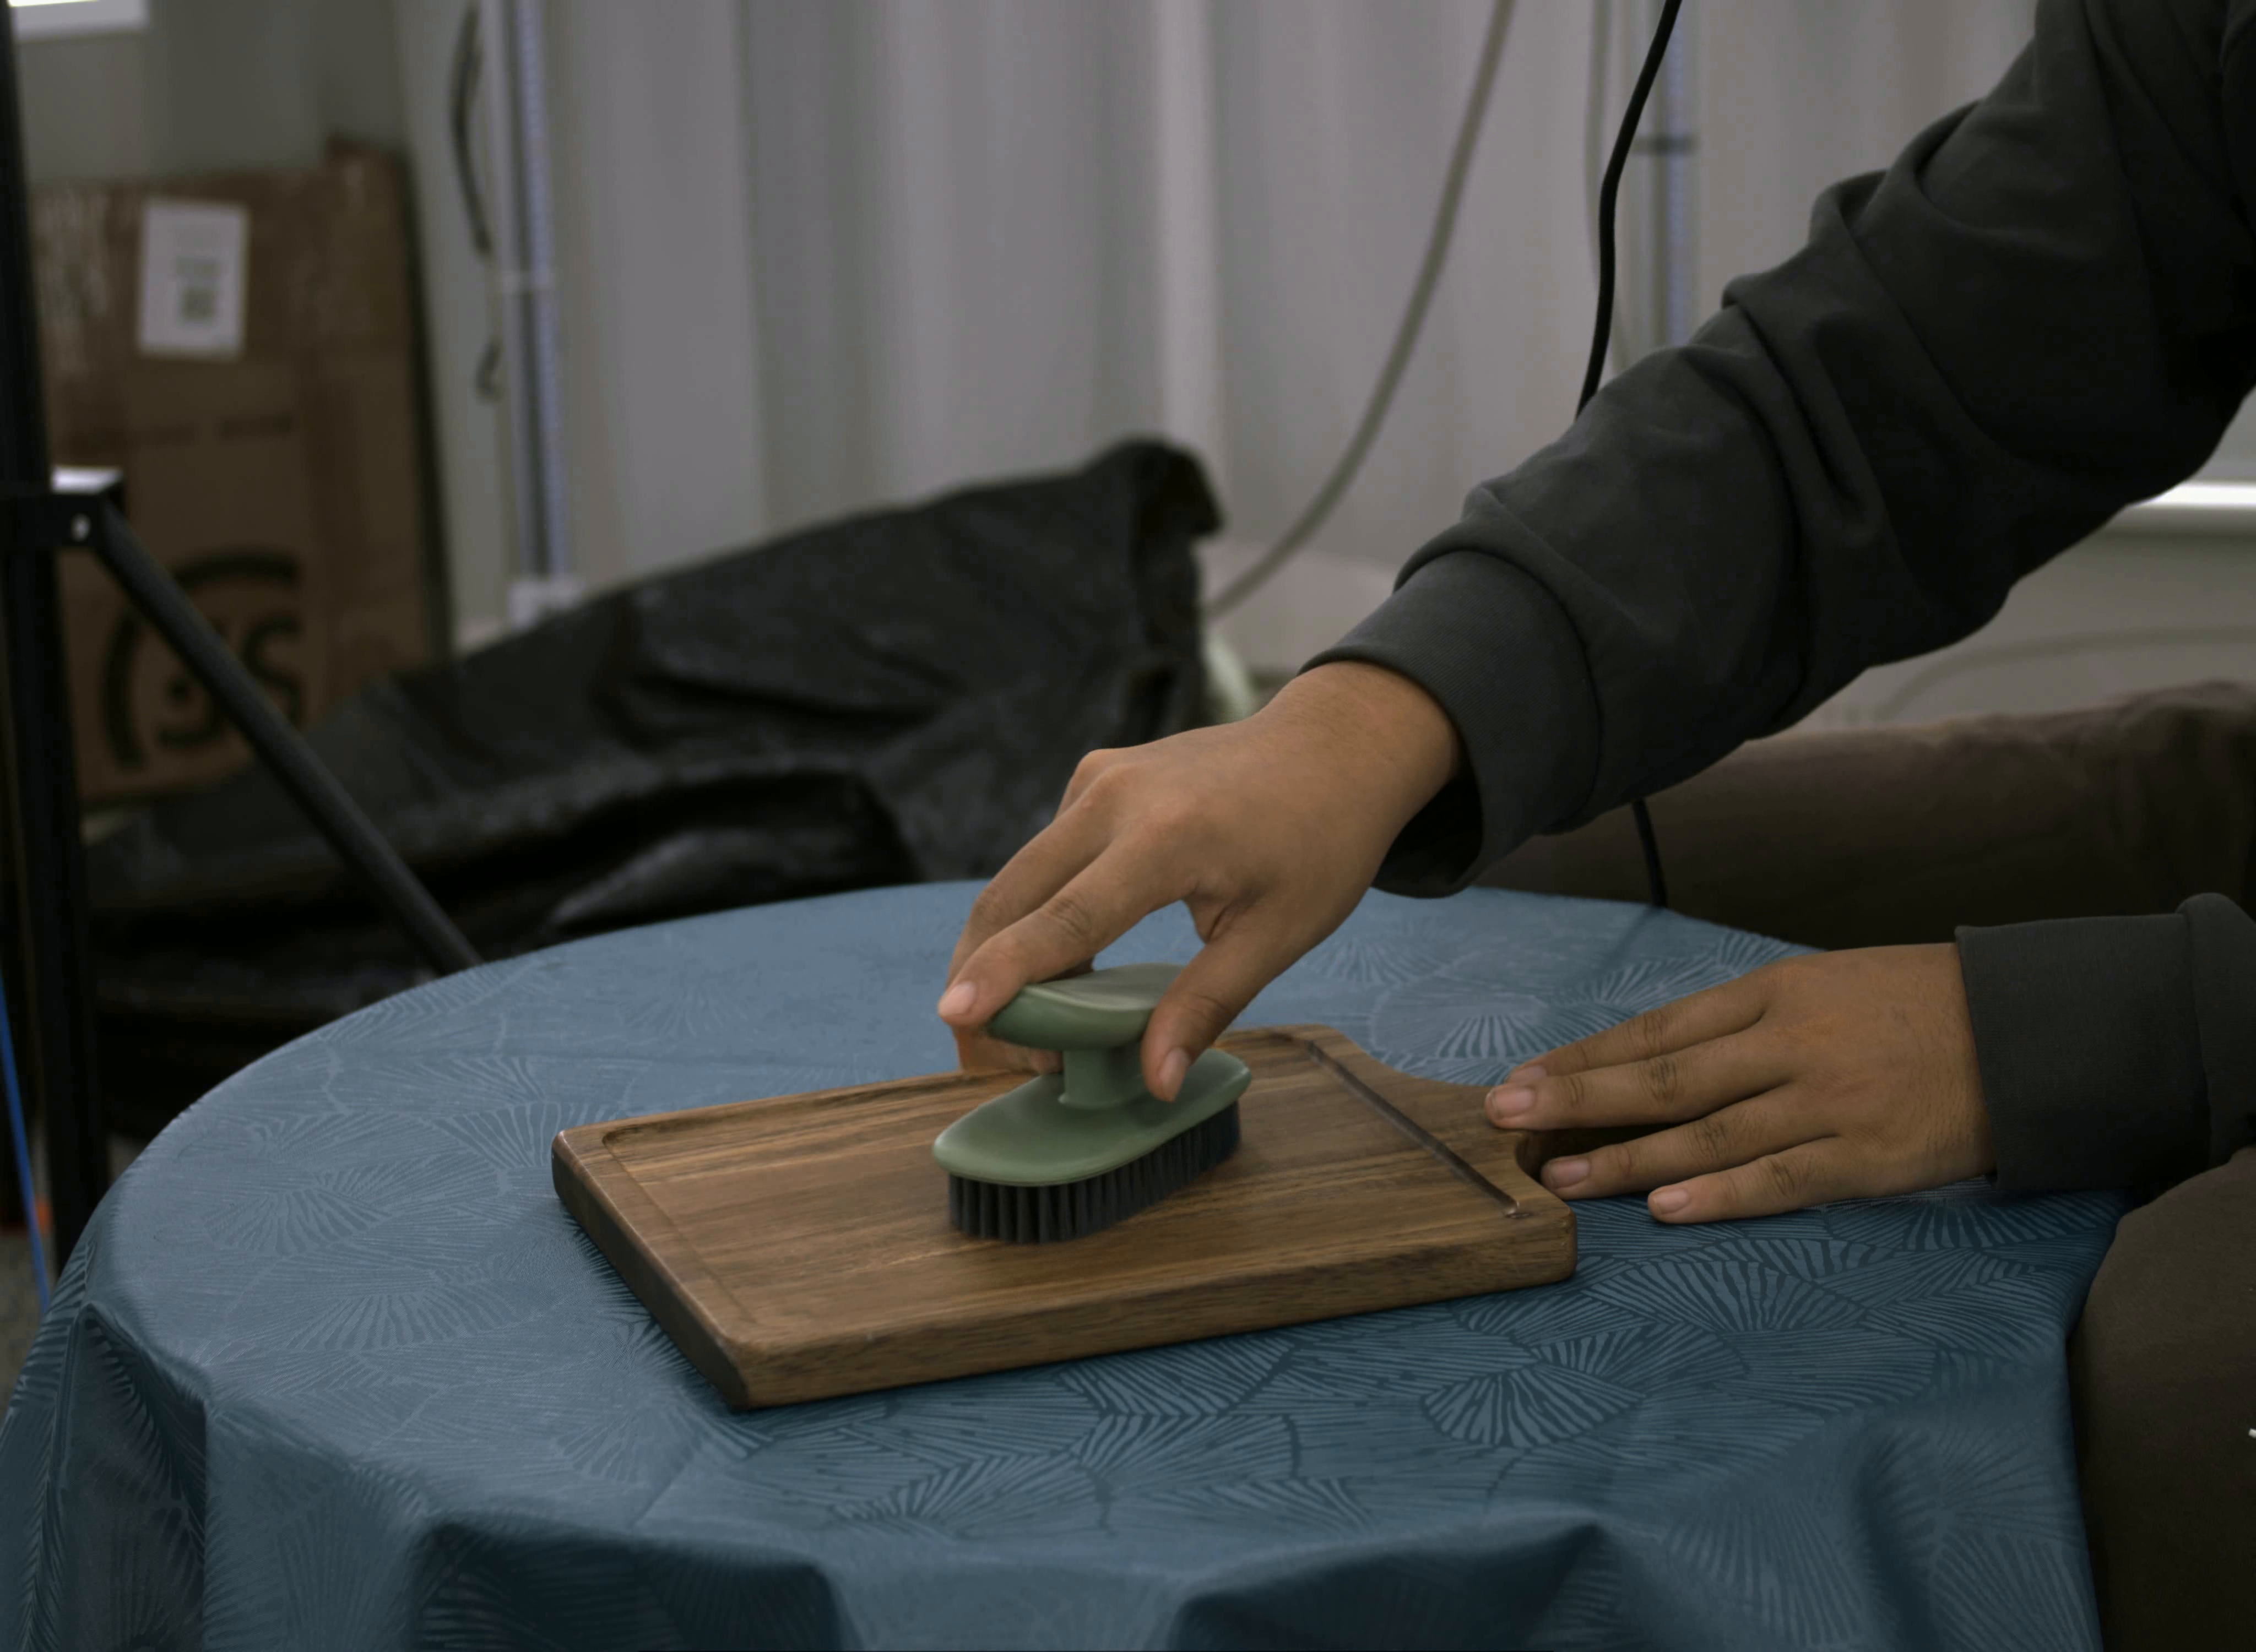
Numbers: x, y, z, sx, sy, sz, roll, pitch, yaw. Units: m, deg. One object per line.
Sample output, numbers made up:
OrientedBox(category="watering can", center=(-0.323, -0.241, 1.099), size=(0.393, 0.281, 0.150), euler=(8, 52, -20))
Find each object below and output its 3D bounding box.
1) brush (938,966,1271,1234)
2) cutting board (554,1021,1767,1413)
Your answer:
OrientedBox(category="brush", center=(-0.006, 0.079, 1.517), size=(0.061, 0.076, 0.120), euler=(12, 4, 34))
OrientedBox(category="cutting board", center=(0.026, 0.102, 1.535), size=(0.346, 0.023, 0.204), euler=(-7, 17, -17))
